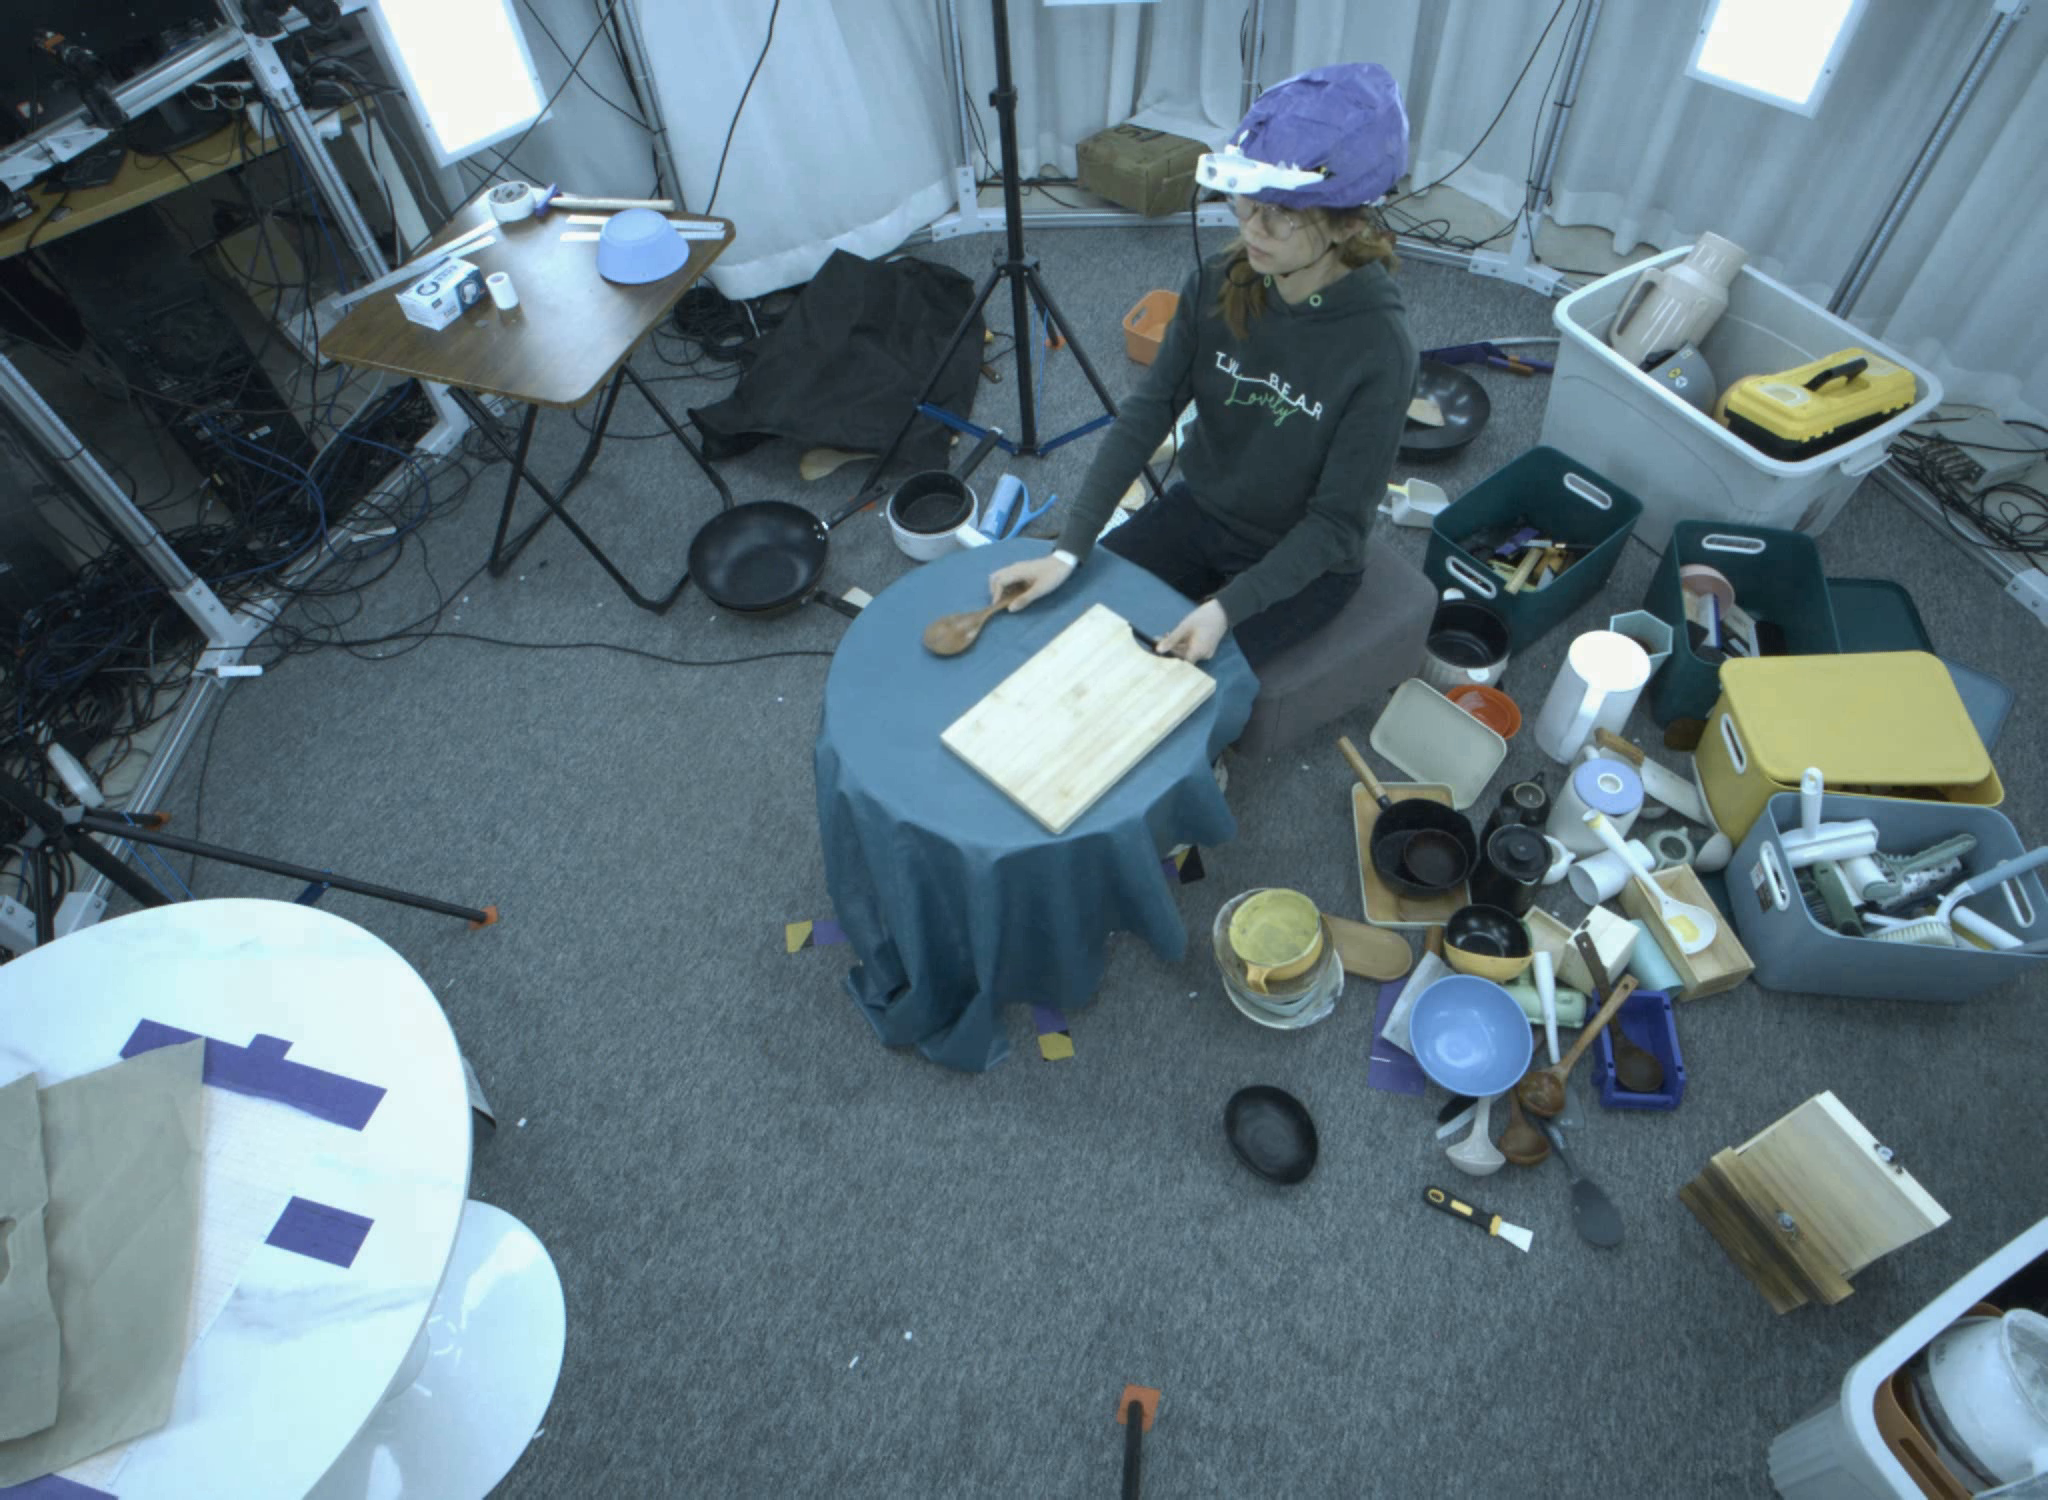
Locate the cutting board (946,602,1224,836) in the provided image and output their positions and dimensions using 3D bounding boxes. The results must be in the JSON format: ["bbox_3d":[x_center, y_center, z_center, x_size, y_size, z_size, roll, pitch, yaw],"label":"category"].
[{"bbox_3d":[0.089,-0.056,1.815,0.246,0.024,0.350,37,66,24],"label":"cutting board"}]

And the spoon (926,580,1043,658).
[{"bbox_3d":[-0.060,-0.208,1.932,0.217,0.017,0.074,-34,60,-17],"label":"spoon"}]
